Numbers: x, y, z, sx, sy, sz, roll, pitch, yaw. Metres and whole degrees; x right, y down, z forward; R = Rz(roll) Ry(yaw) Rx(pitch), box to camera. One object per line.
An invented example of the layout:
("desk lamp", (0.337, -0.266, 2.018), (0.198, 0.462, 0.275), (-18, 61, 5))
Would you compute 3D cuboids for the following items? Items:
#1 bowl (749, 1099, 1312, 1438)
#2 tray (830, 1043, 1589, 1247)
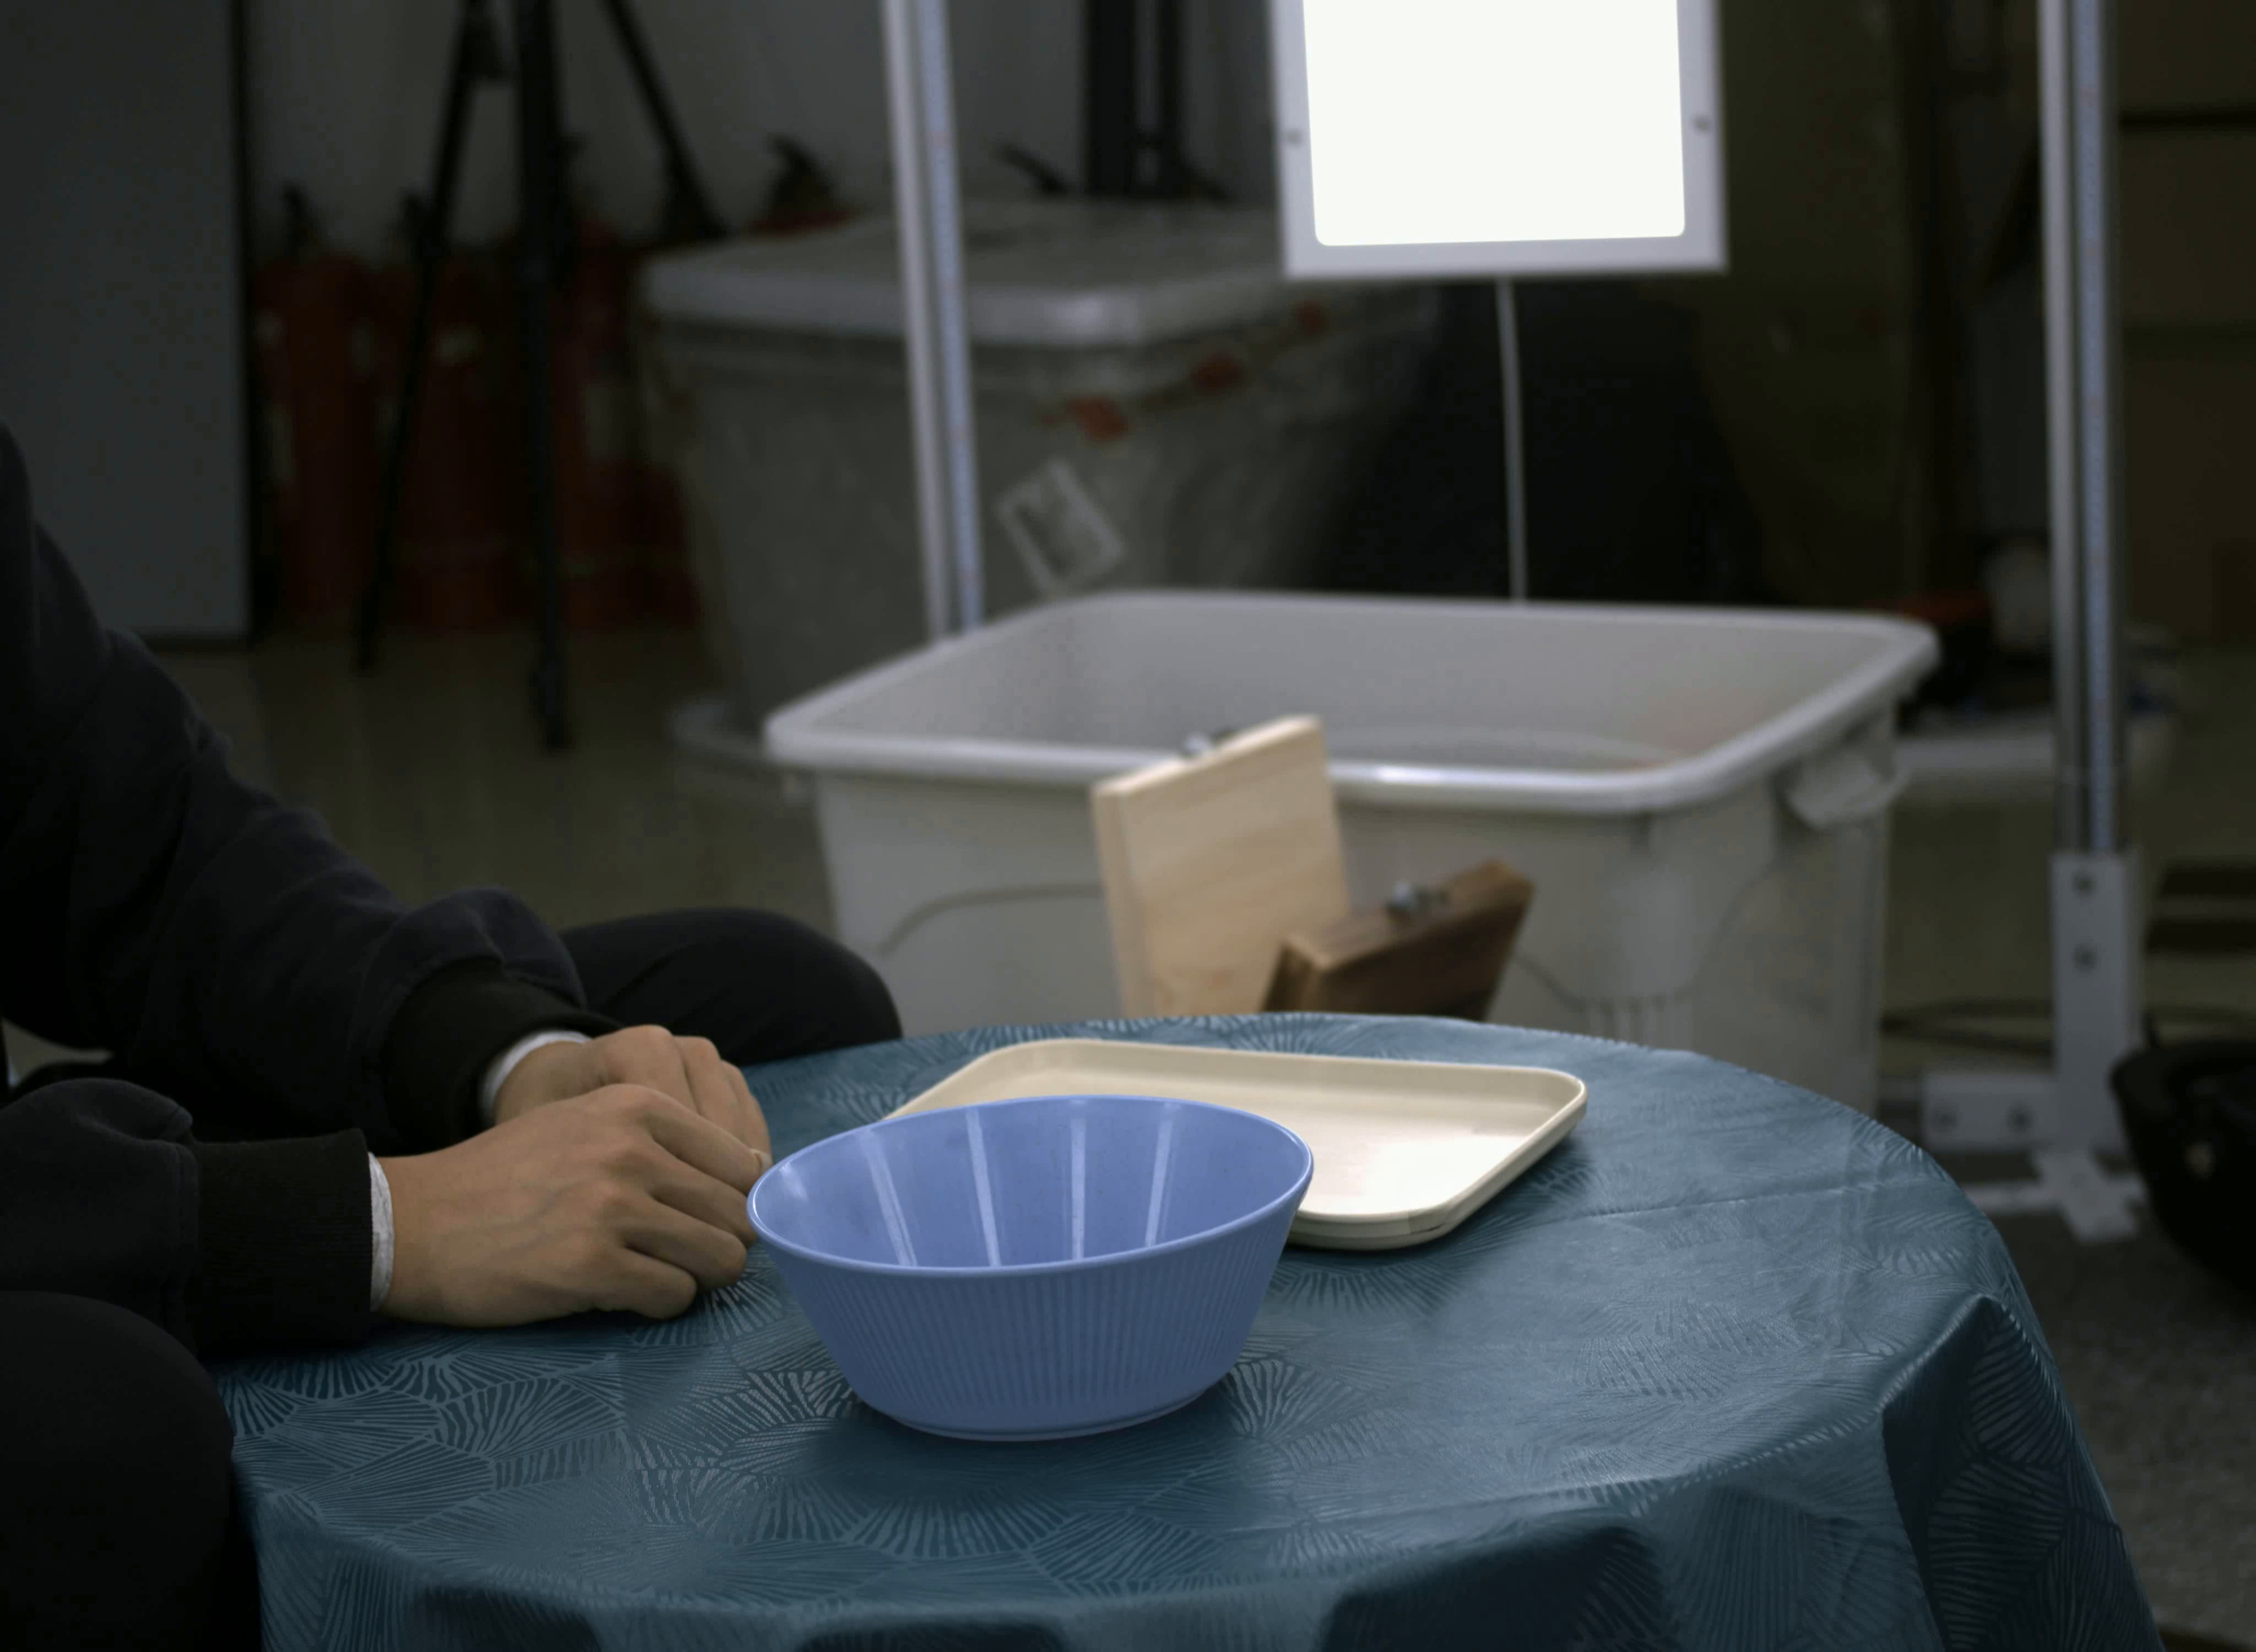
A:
("bowl", (-0.027, 0.139, 1.705), (0.175, 0.070, 0.176), (-5, 13, 0))
("tray", (0.029, 0.111, 1.915), (0.244, 0.017, 0.167), (2, 15, 28))
